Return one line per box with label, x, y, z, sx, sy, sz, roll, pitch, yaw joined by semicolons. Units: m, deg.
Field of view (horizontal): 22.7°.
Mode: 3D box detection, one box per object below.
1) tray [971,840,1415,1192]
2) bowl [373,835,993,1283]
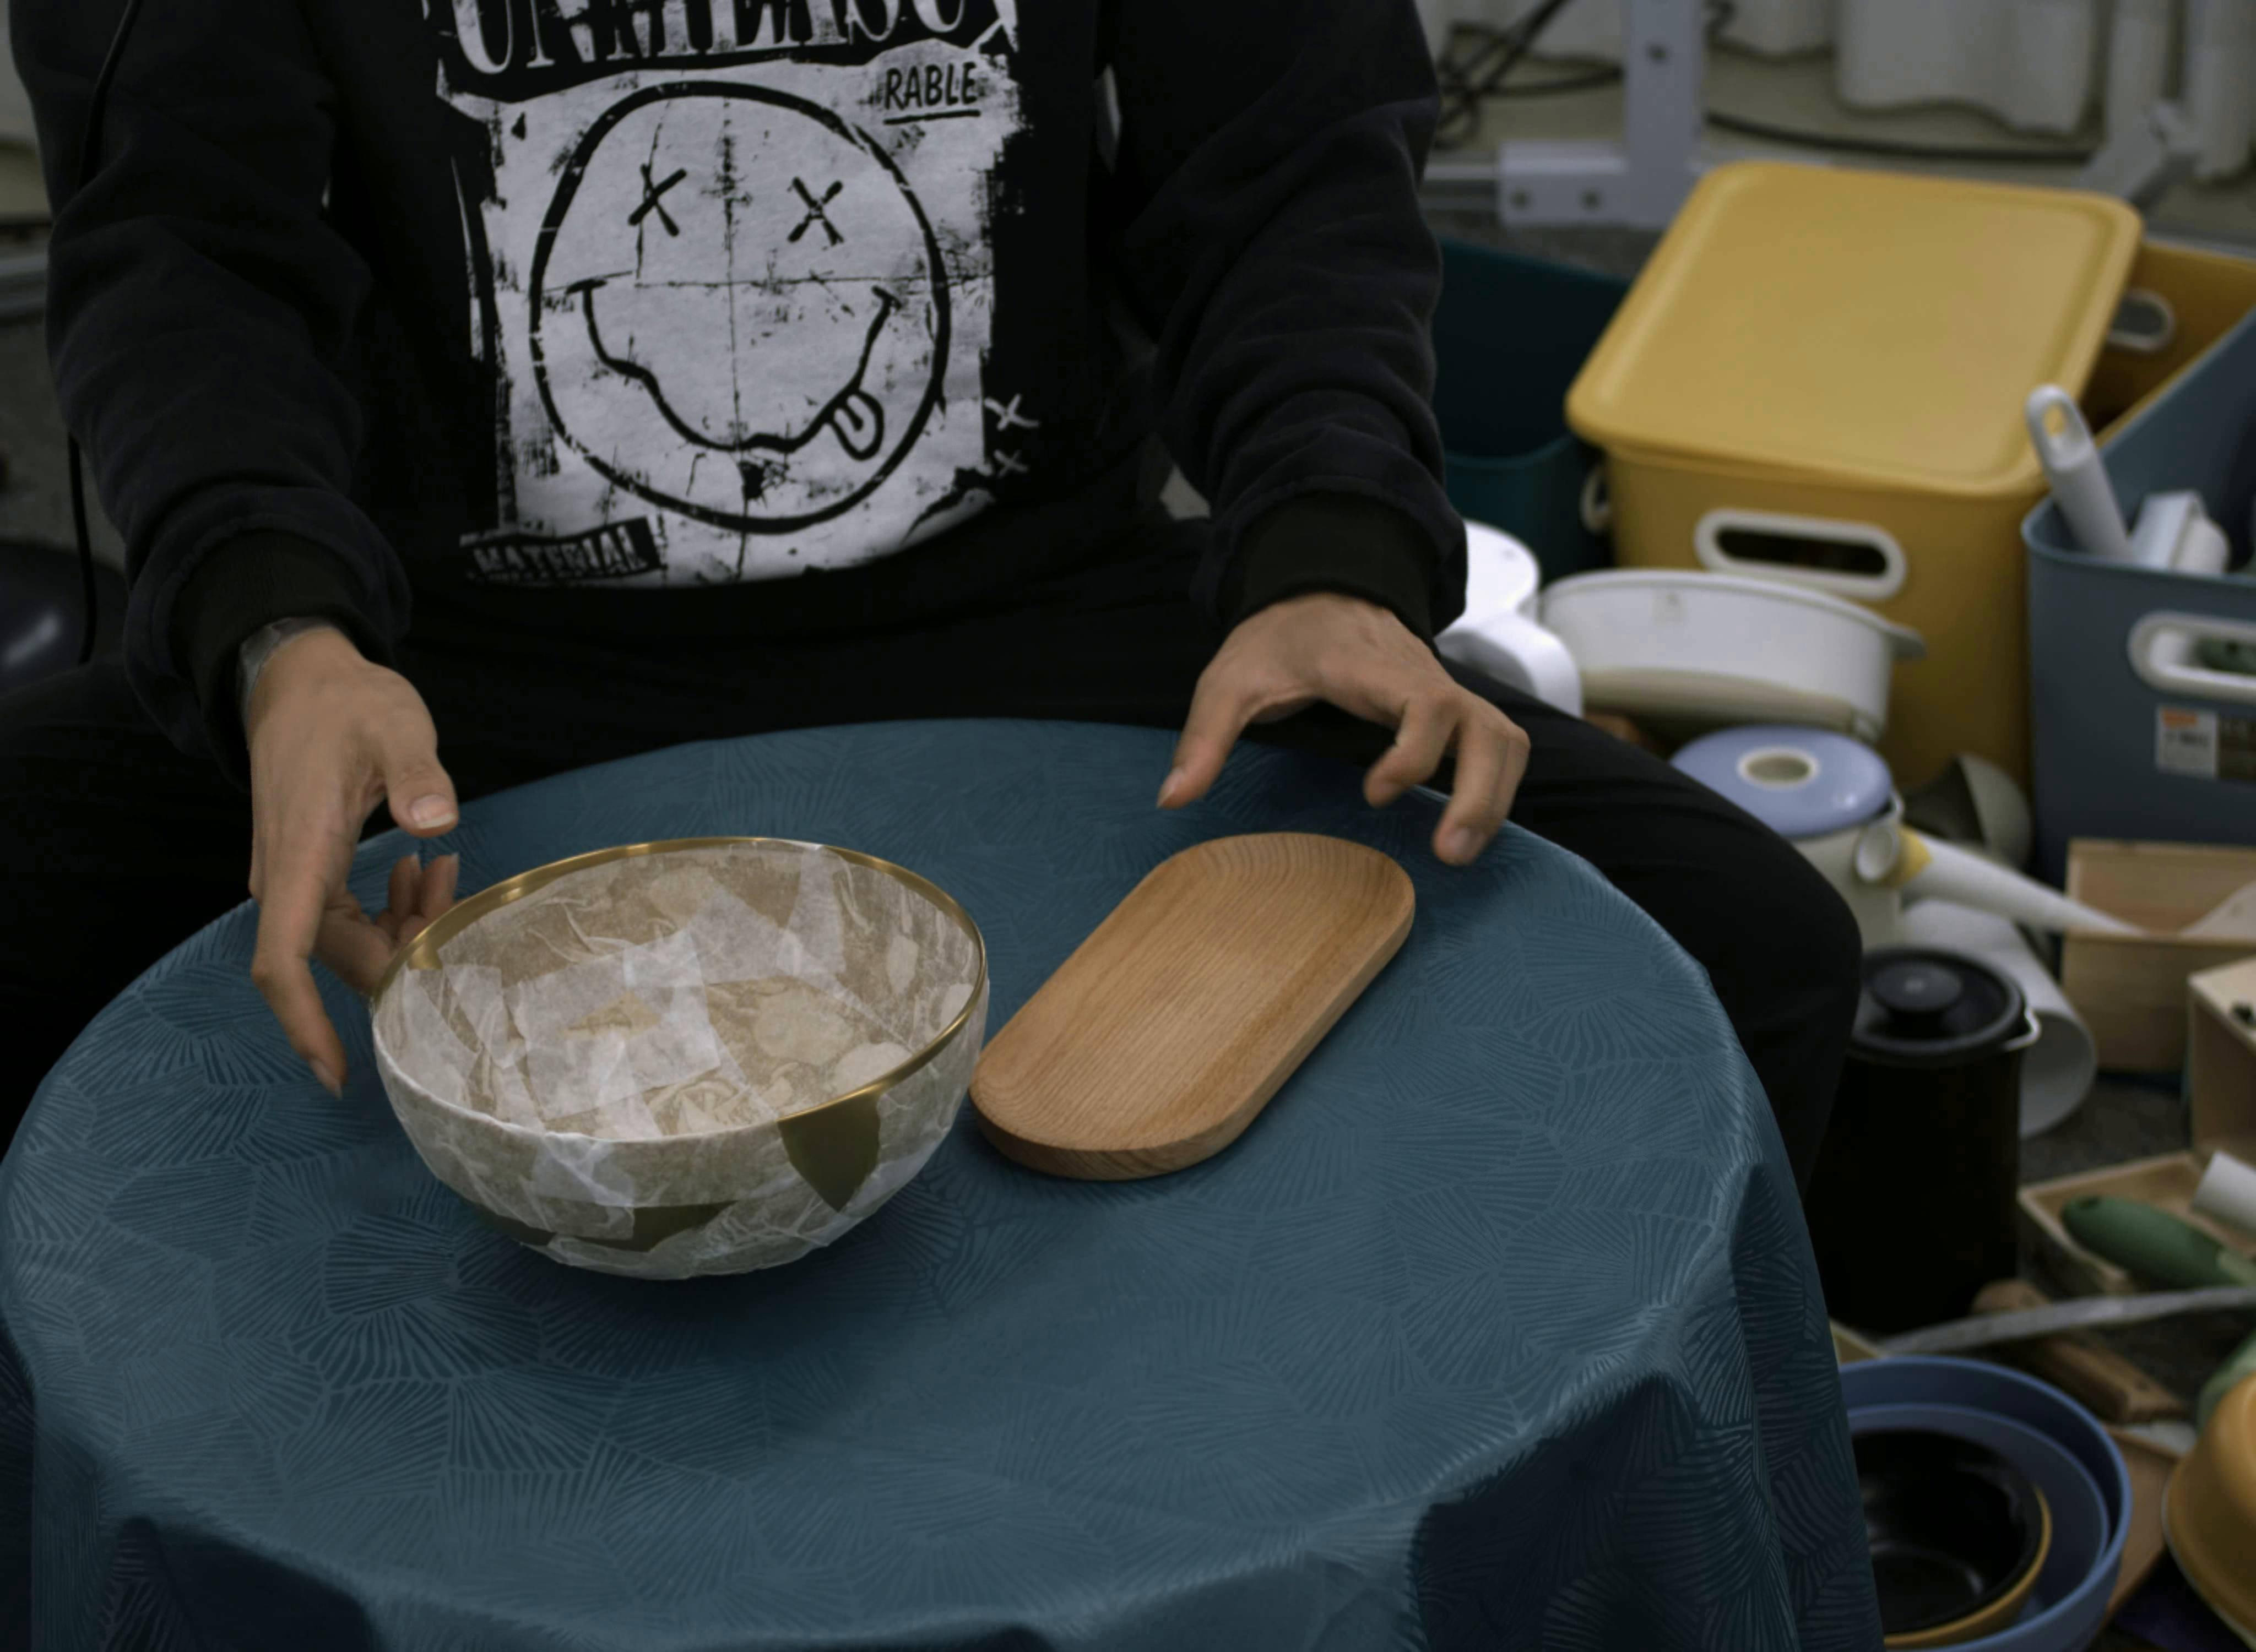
tray;0.025;0.064;1.954;0.101;0.020;0.235;7;31;24
bowl;-0.139;0.088;1.841;0.213;0.093;0.218;-3;26;2
